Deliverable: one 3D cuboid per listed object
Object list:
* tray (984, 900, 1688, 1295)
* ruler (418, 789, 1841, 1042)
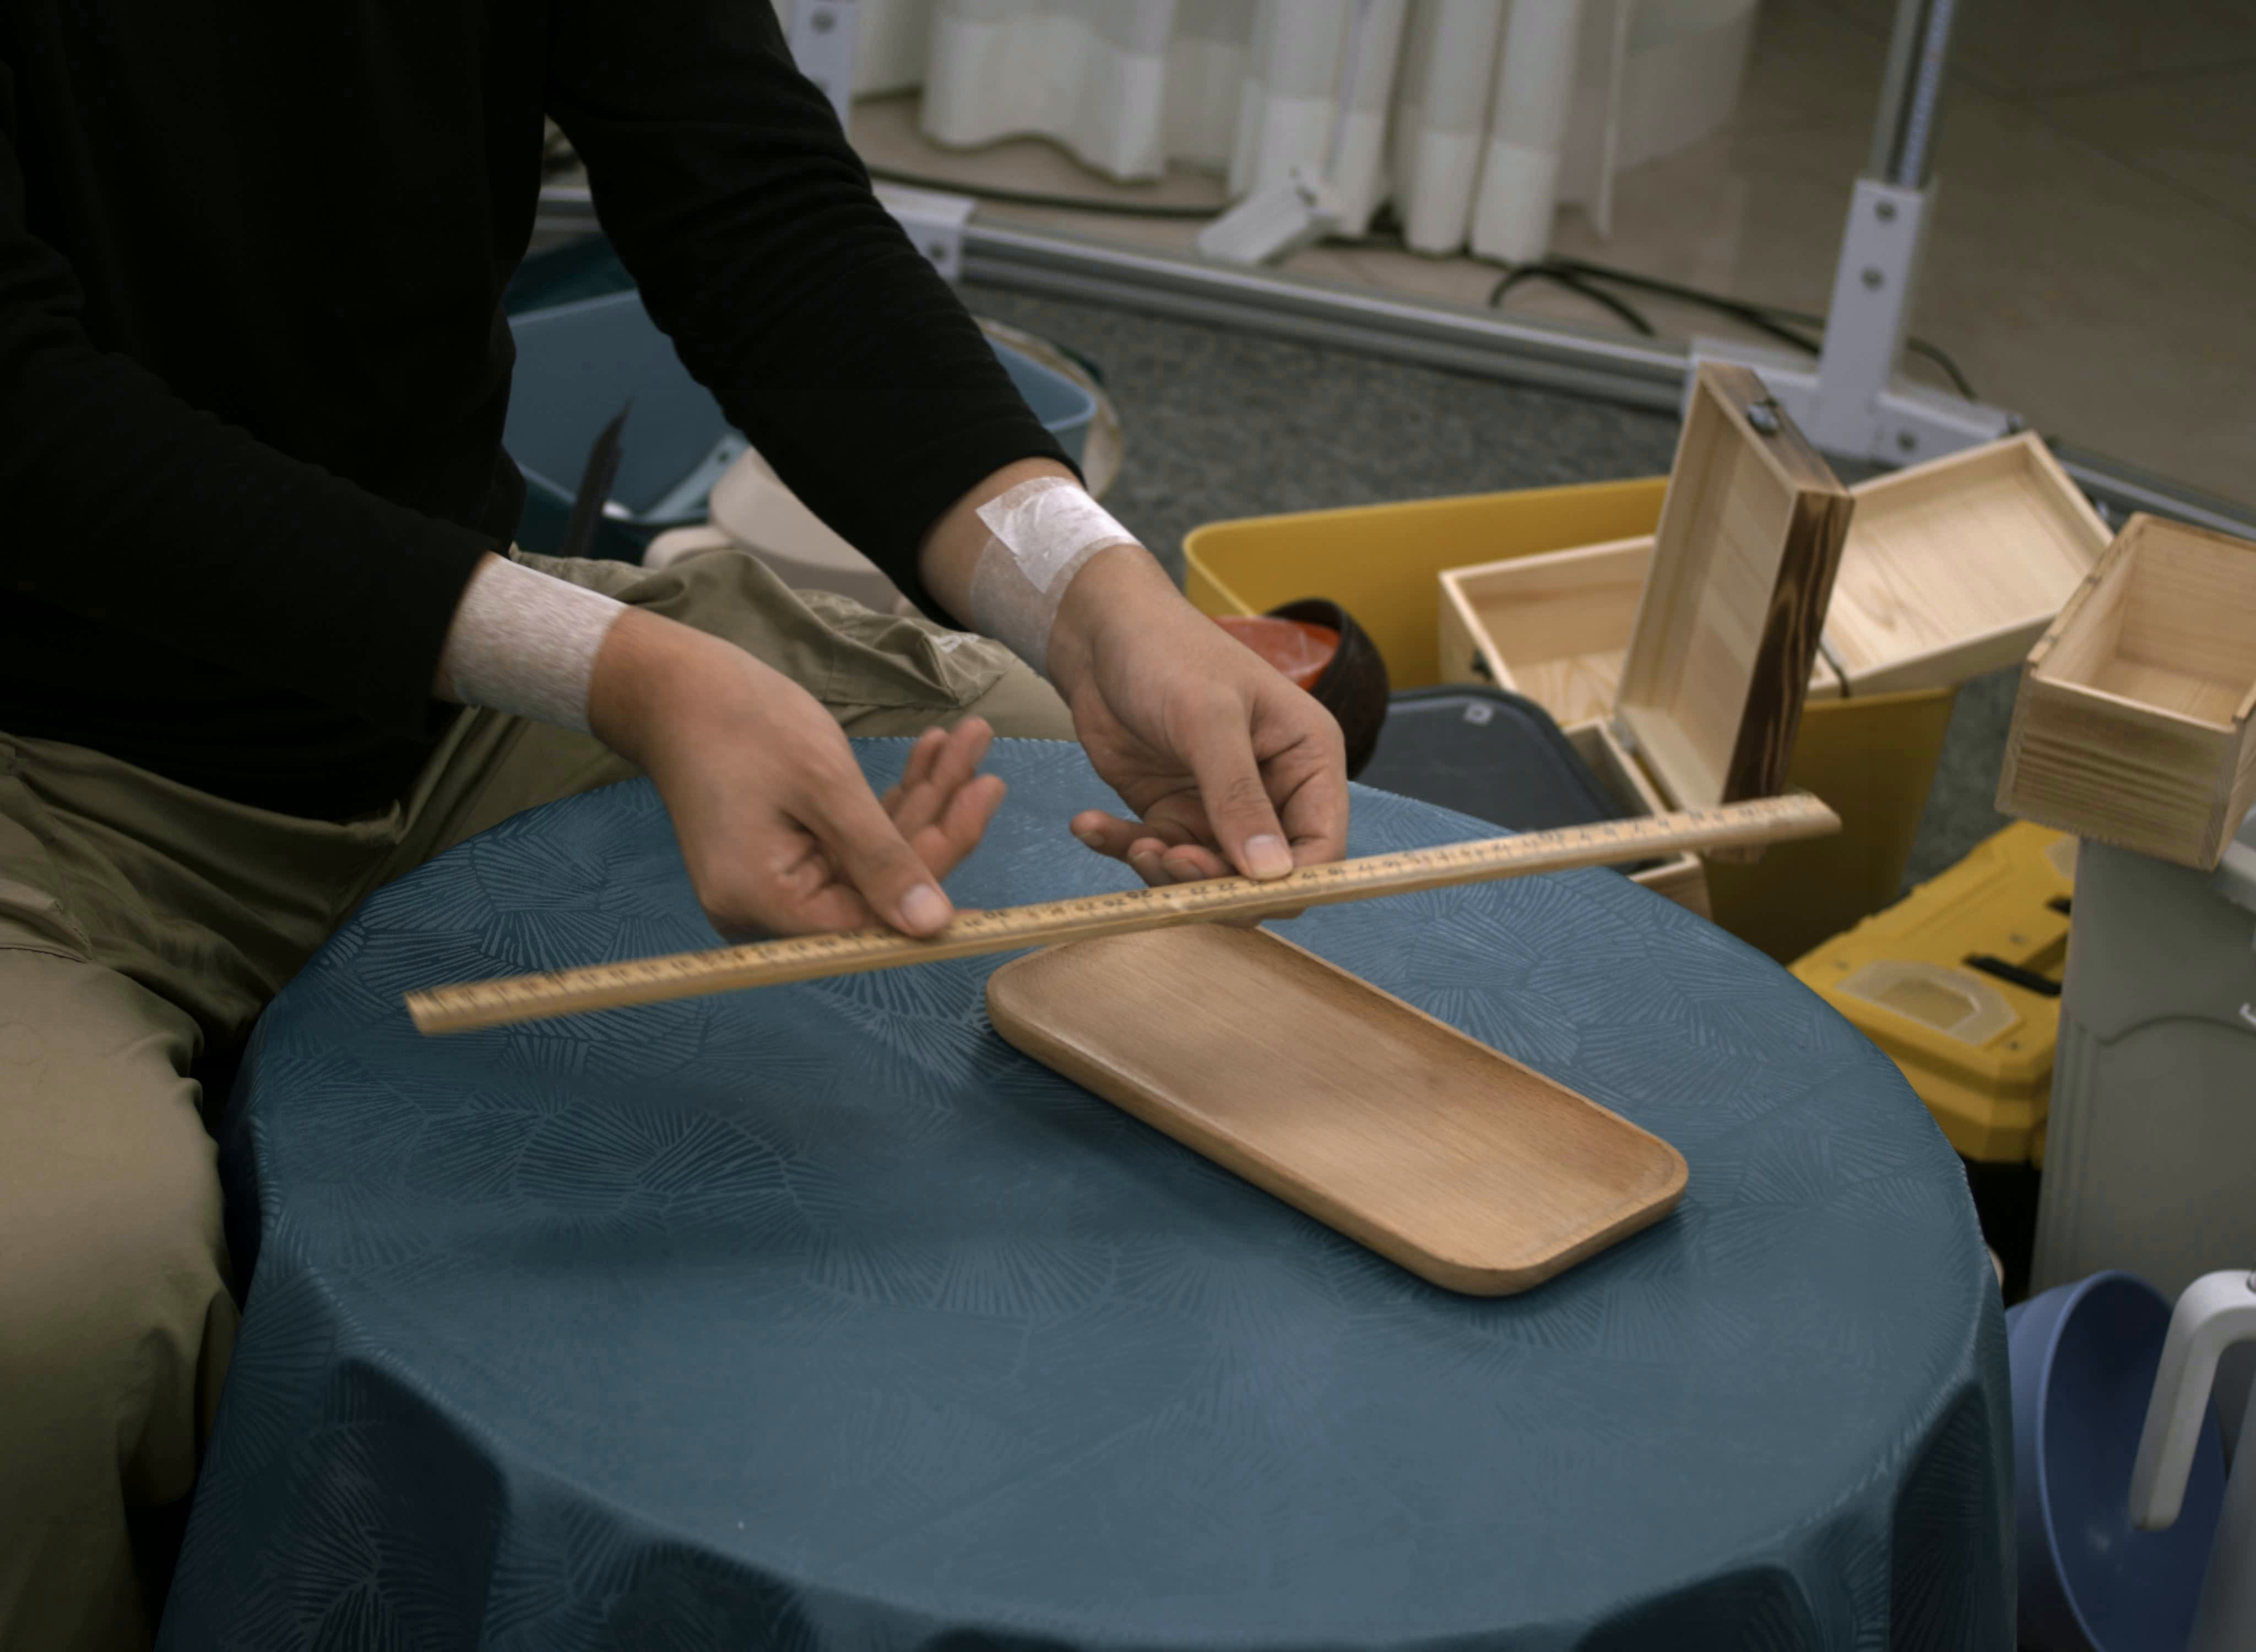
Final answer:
[{"bbox_3d":[0.070,0.093,1.861,0.252,0.023,0.130,27,31,37],"label":"tray"},{"bbox_3d":[0.008,0.028,1.786,0.498,0.006,0.027,-9,21,-17],"label":"ruler"}]
